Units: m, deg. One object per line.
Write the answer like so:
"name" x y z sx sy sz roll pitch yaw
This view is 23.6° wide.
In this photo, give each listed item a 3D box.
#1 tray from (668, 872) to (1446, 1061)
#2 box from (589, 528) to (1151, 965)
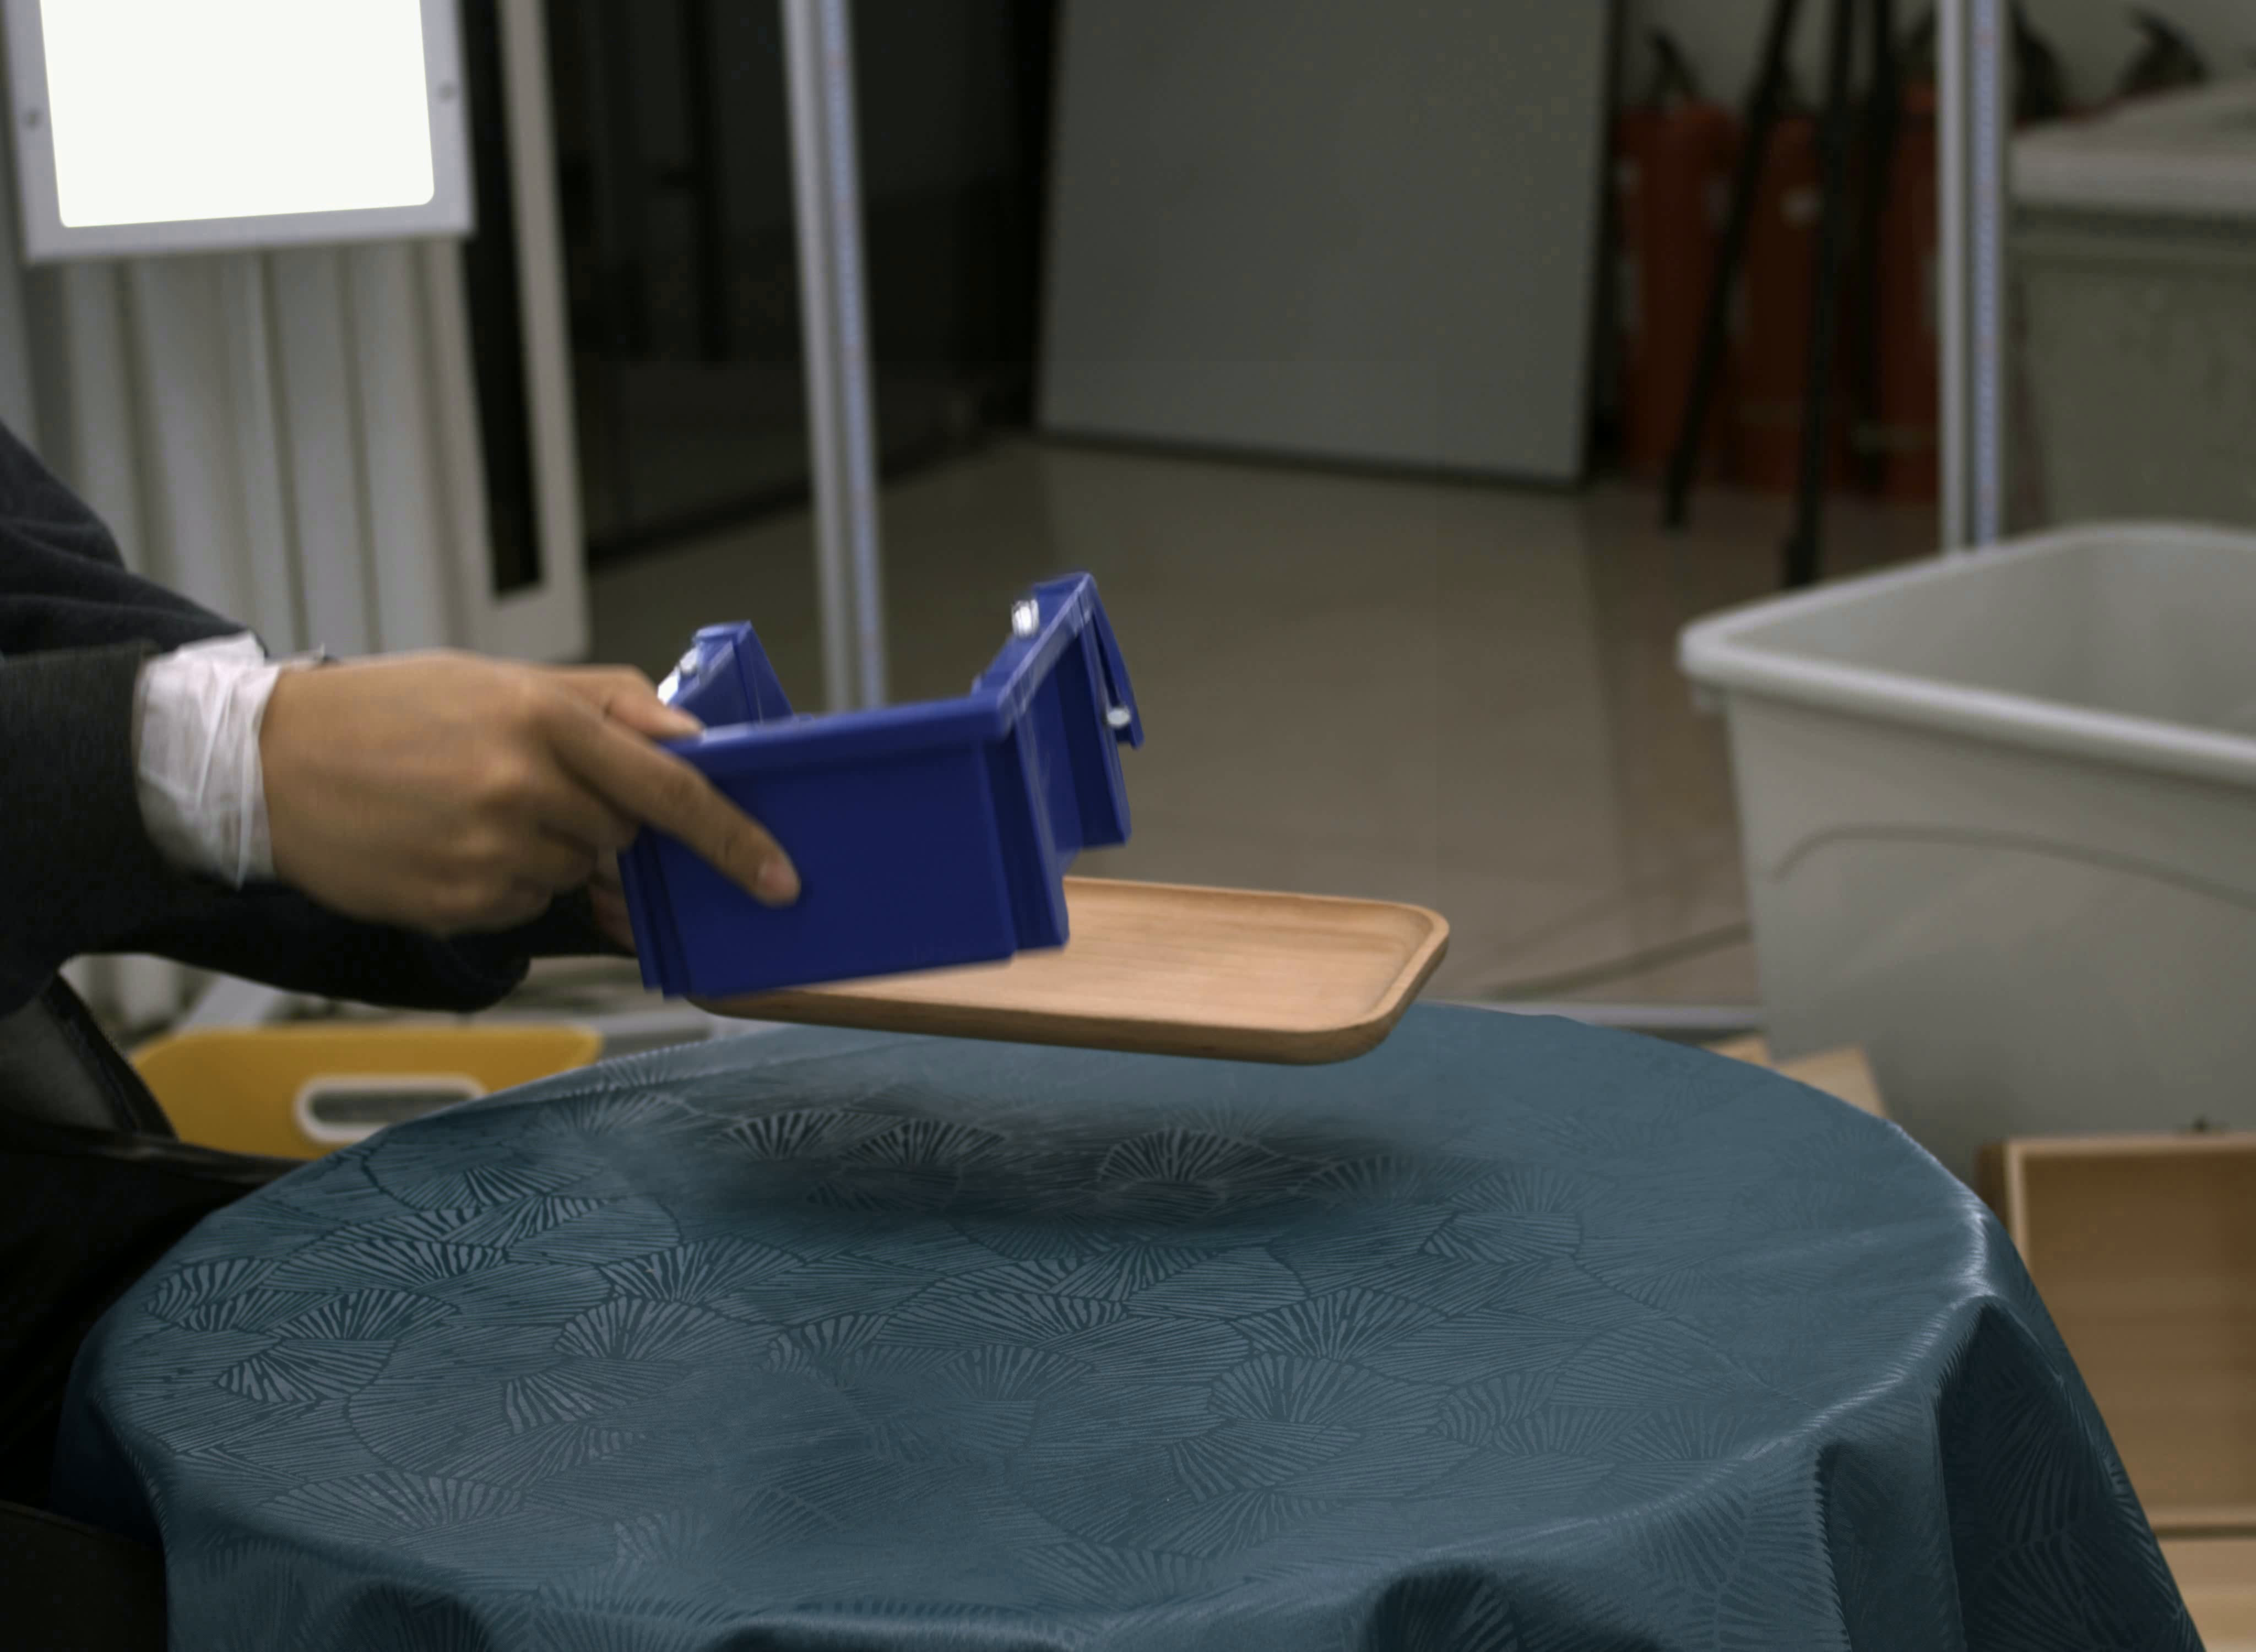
"tray" -0.023 0.043 1.795 0.250 0.023 0.129 3 17 19
"box" -0.072 -0.026 1.593 0.124 0.082 0.178 -8 17 15
